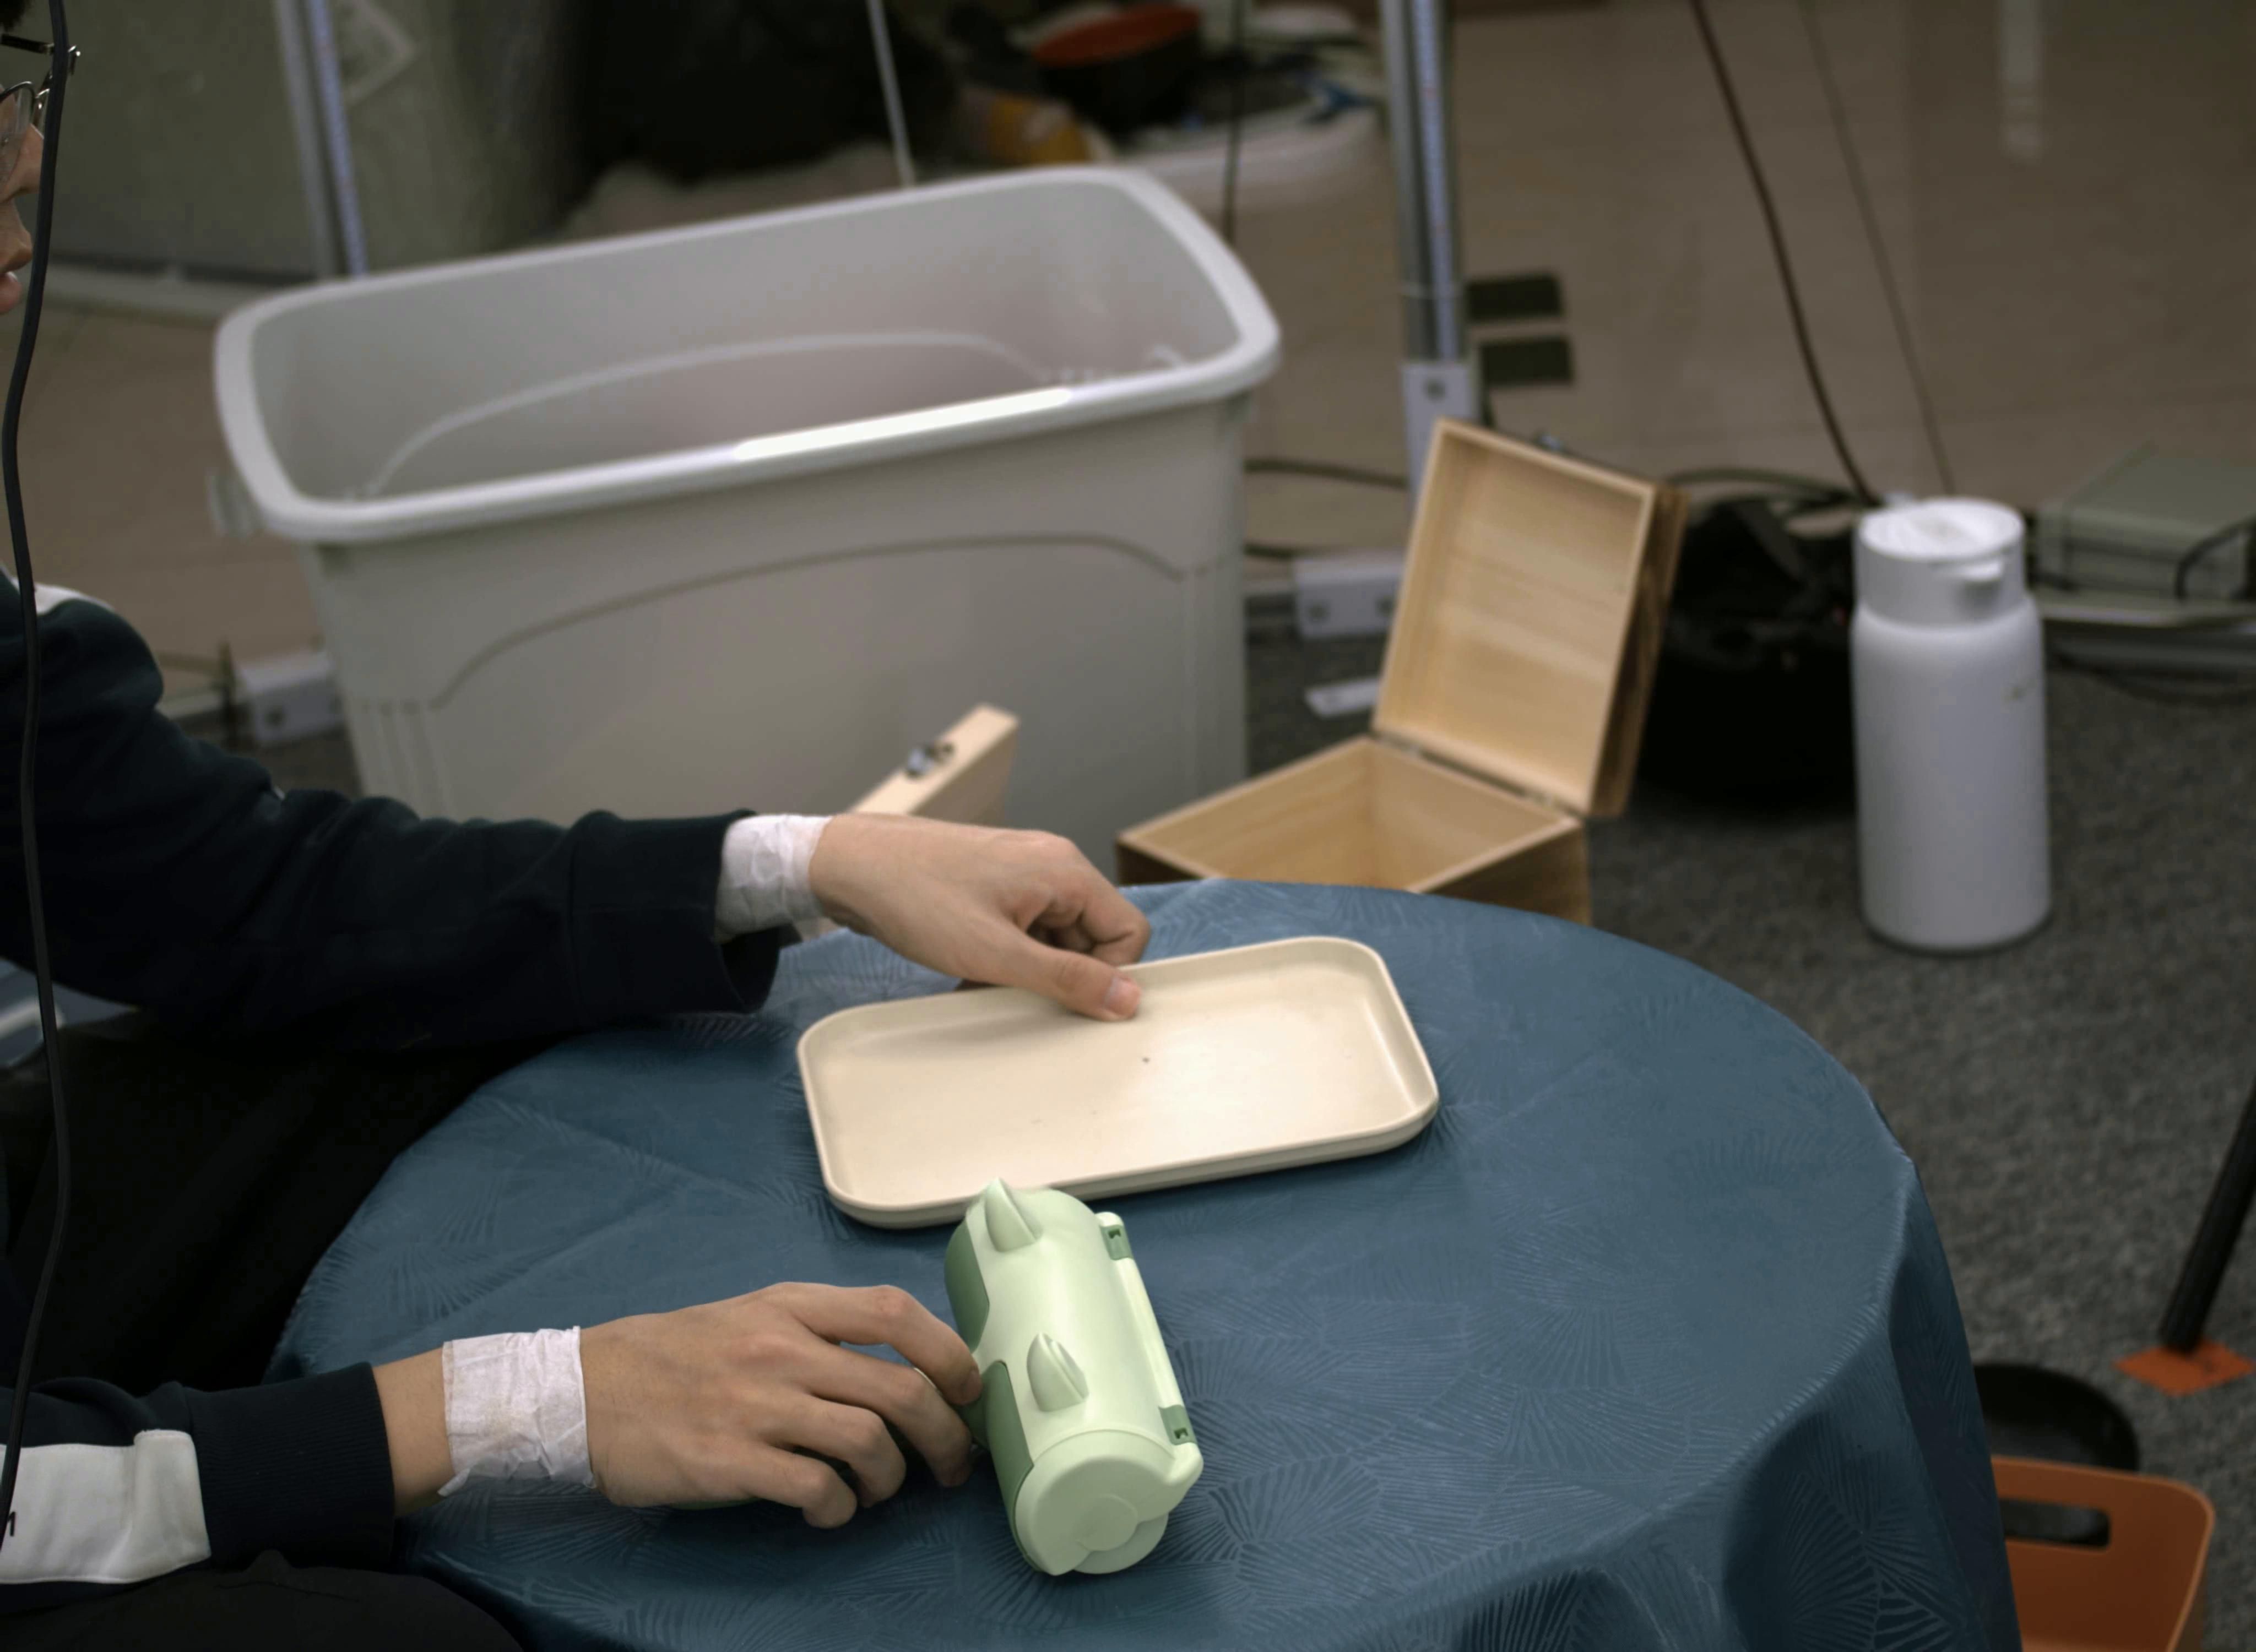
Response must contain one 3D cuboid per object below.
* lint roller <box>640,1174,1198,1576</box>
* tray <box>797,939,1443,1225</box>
[{"bbox_3d":[-0.080,0.189,1.965,0.183,0.083,0.196,-5,25,-7],"label":"lint roller"},{"bbox_3d":[-0.005,0.100,2.207,0.239,0.018,0.169,-9,25,-5],"label":"tray"}]
